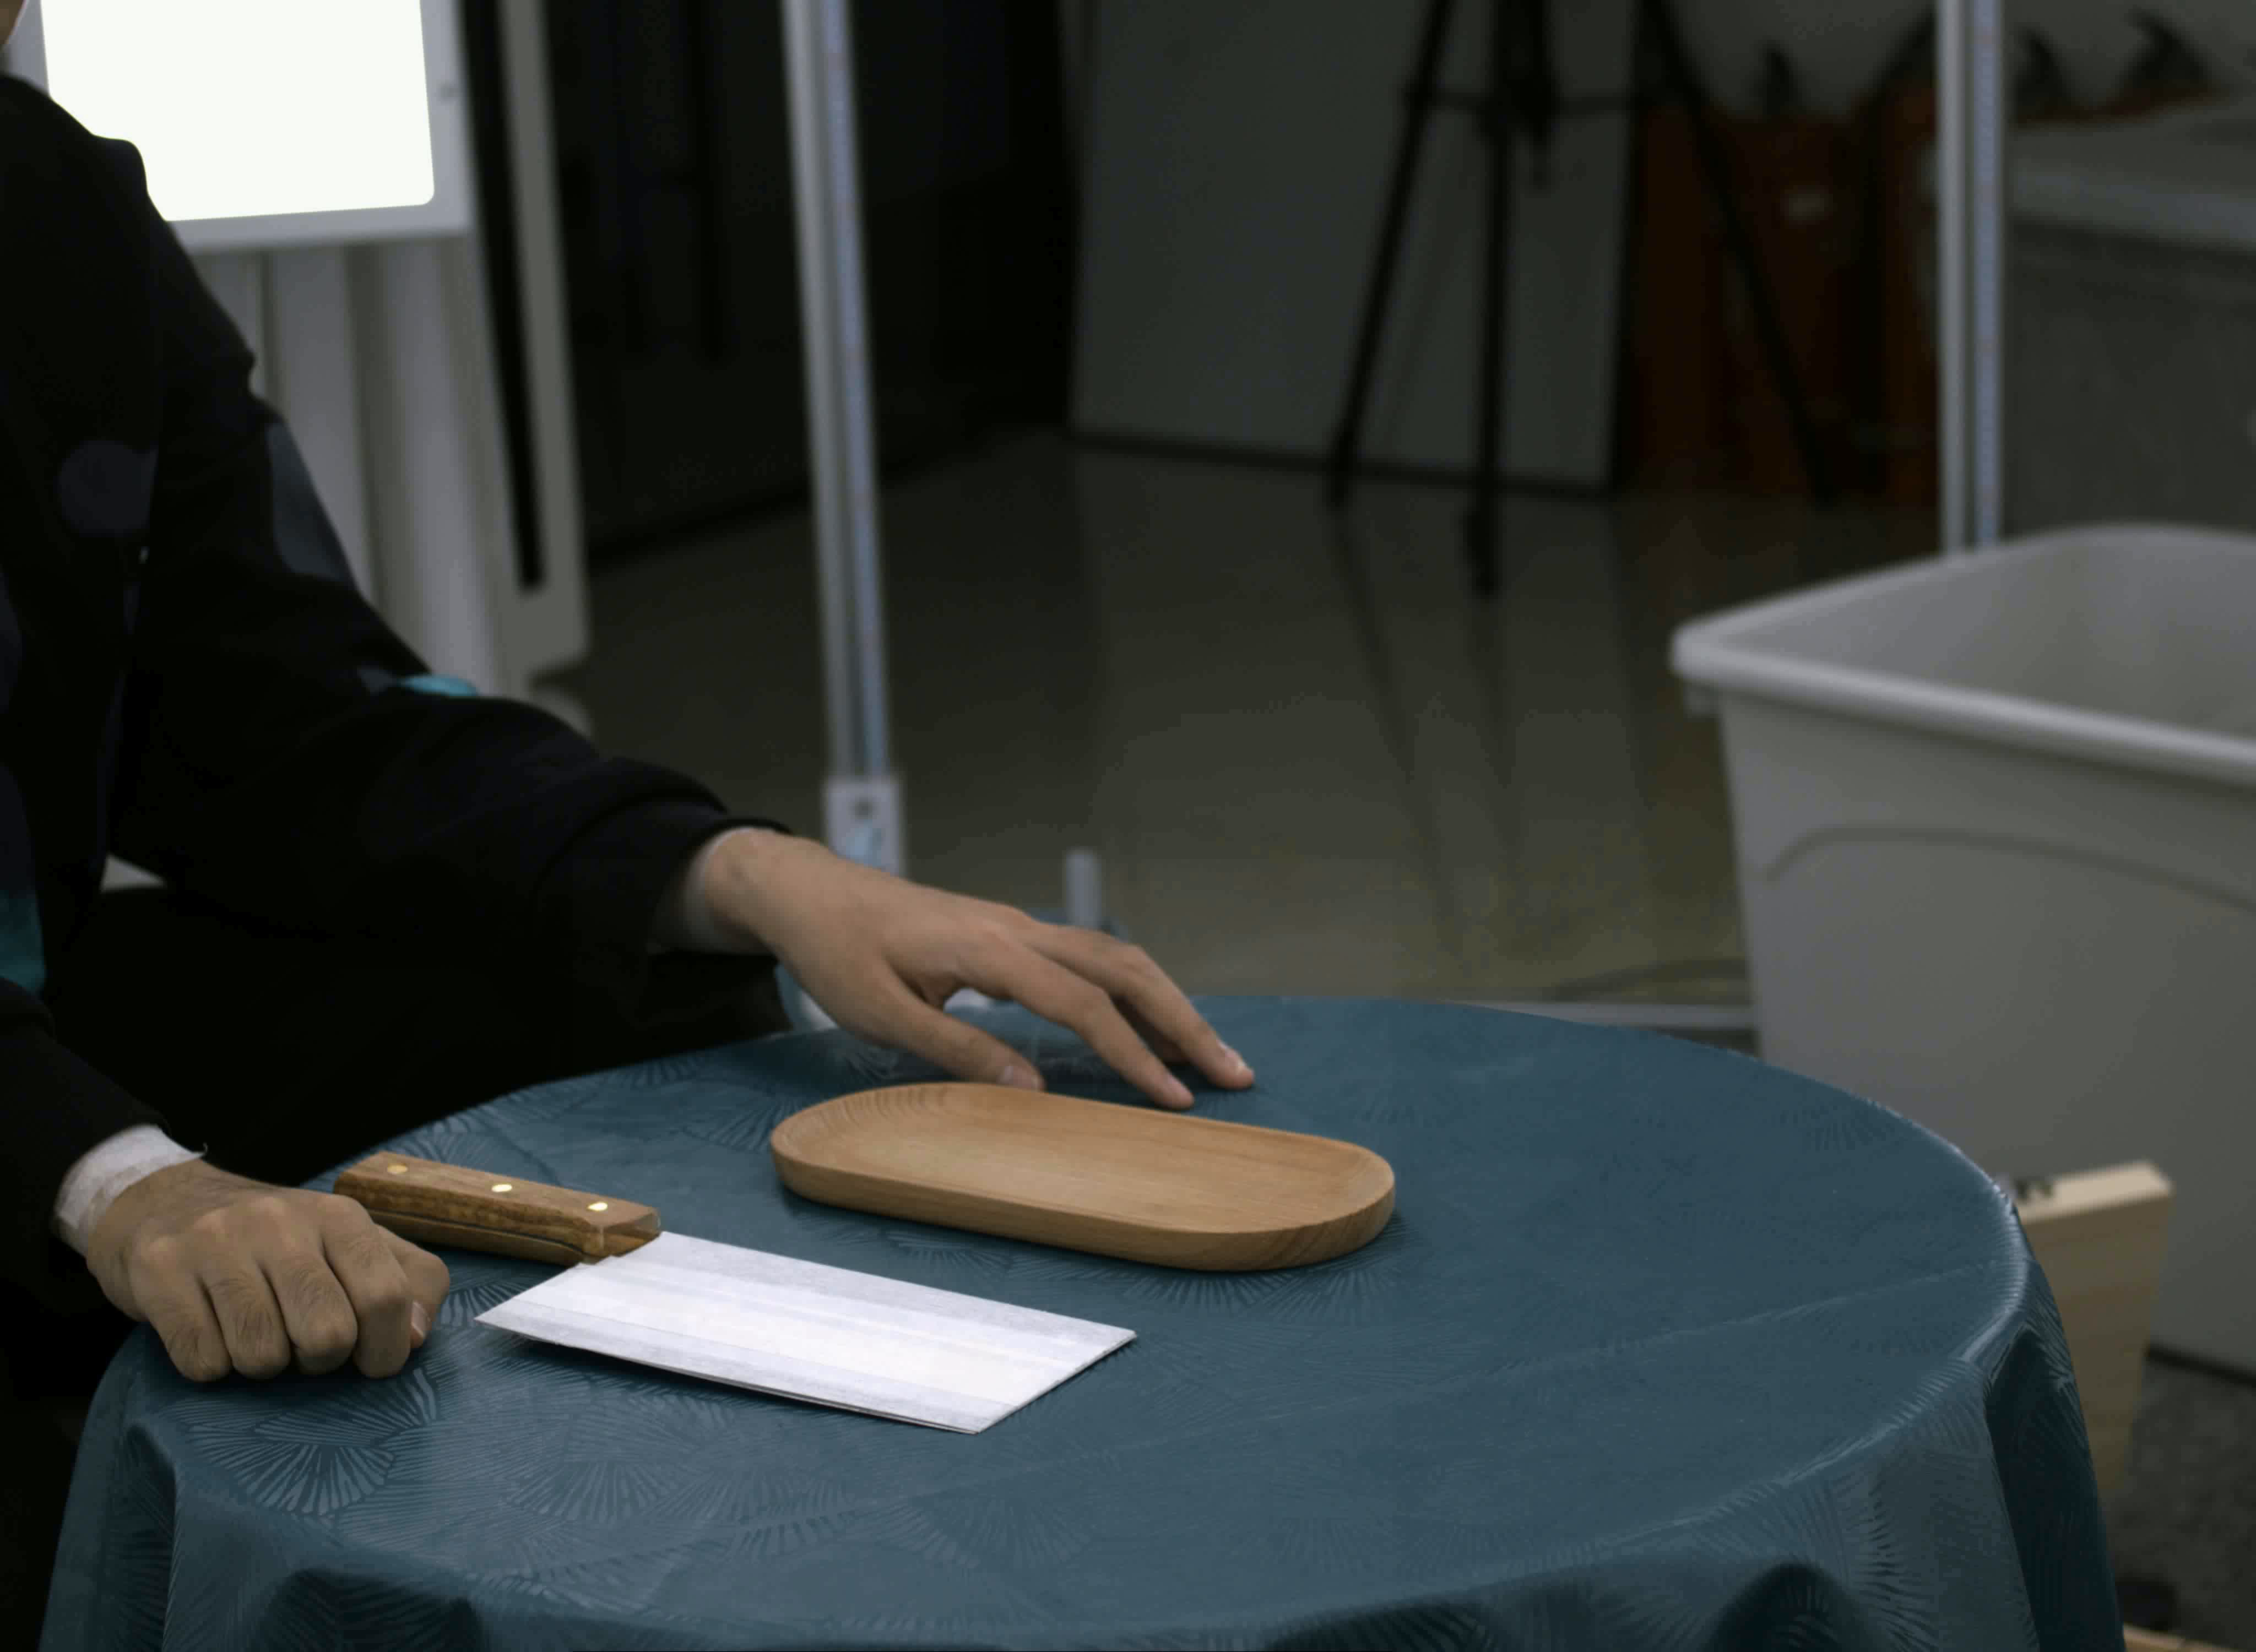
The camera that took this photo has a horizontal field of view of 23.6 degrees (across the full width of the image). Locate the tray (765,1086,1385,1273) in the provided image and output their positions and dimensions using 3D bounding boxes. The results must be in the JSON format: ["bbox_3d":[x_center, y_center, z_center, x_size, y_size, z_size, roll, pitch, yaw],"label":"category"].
[{"bbox_3d":[-0.019,0.115,1.766,0.233,0.020,0.100,5,16,37],"label":"tray"}]

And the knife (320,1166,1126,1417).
[{"bbox_3d":[-0.145,0.147,1.679,0.307,0.021,0.091,8,20,34],"label":"knife"}]
